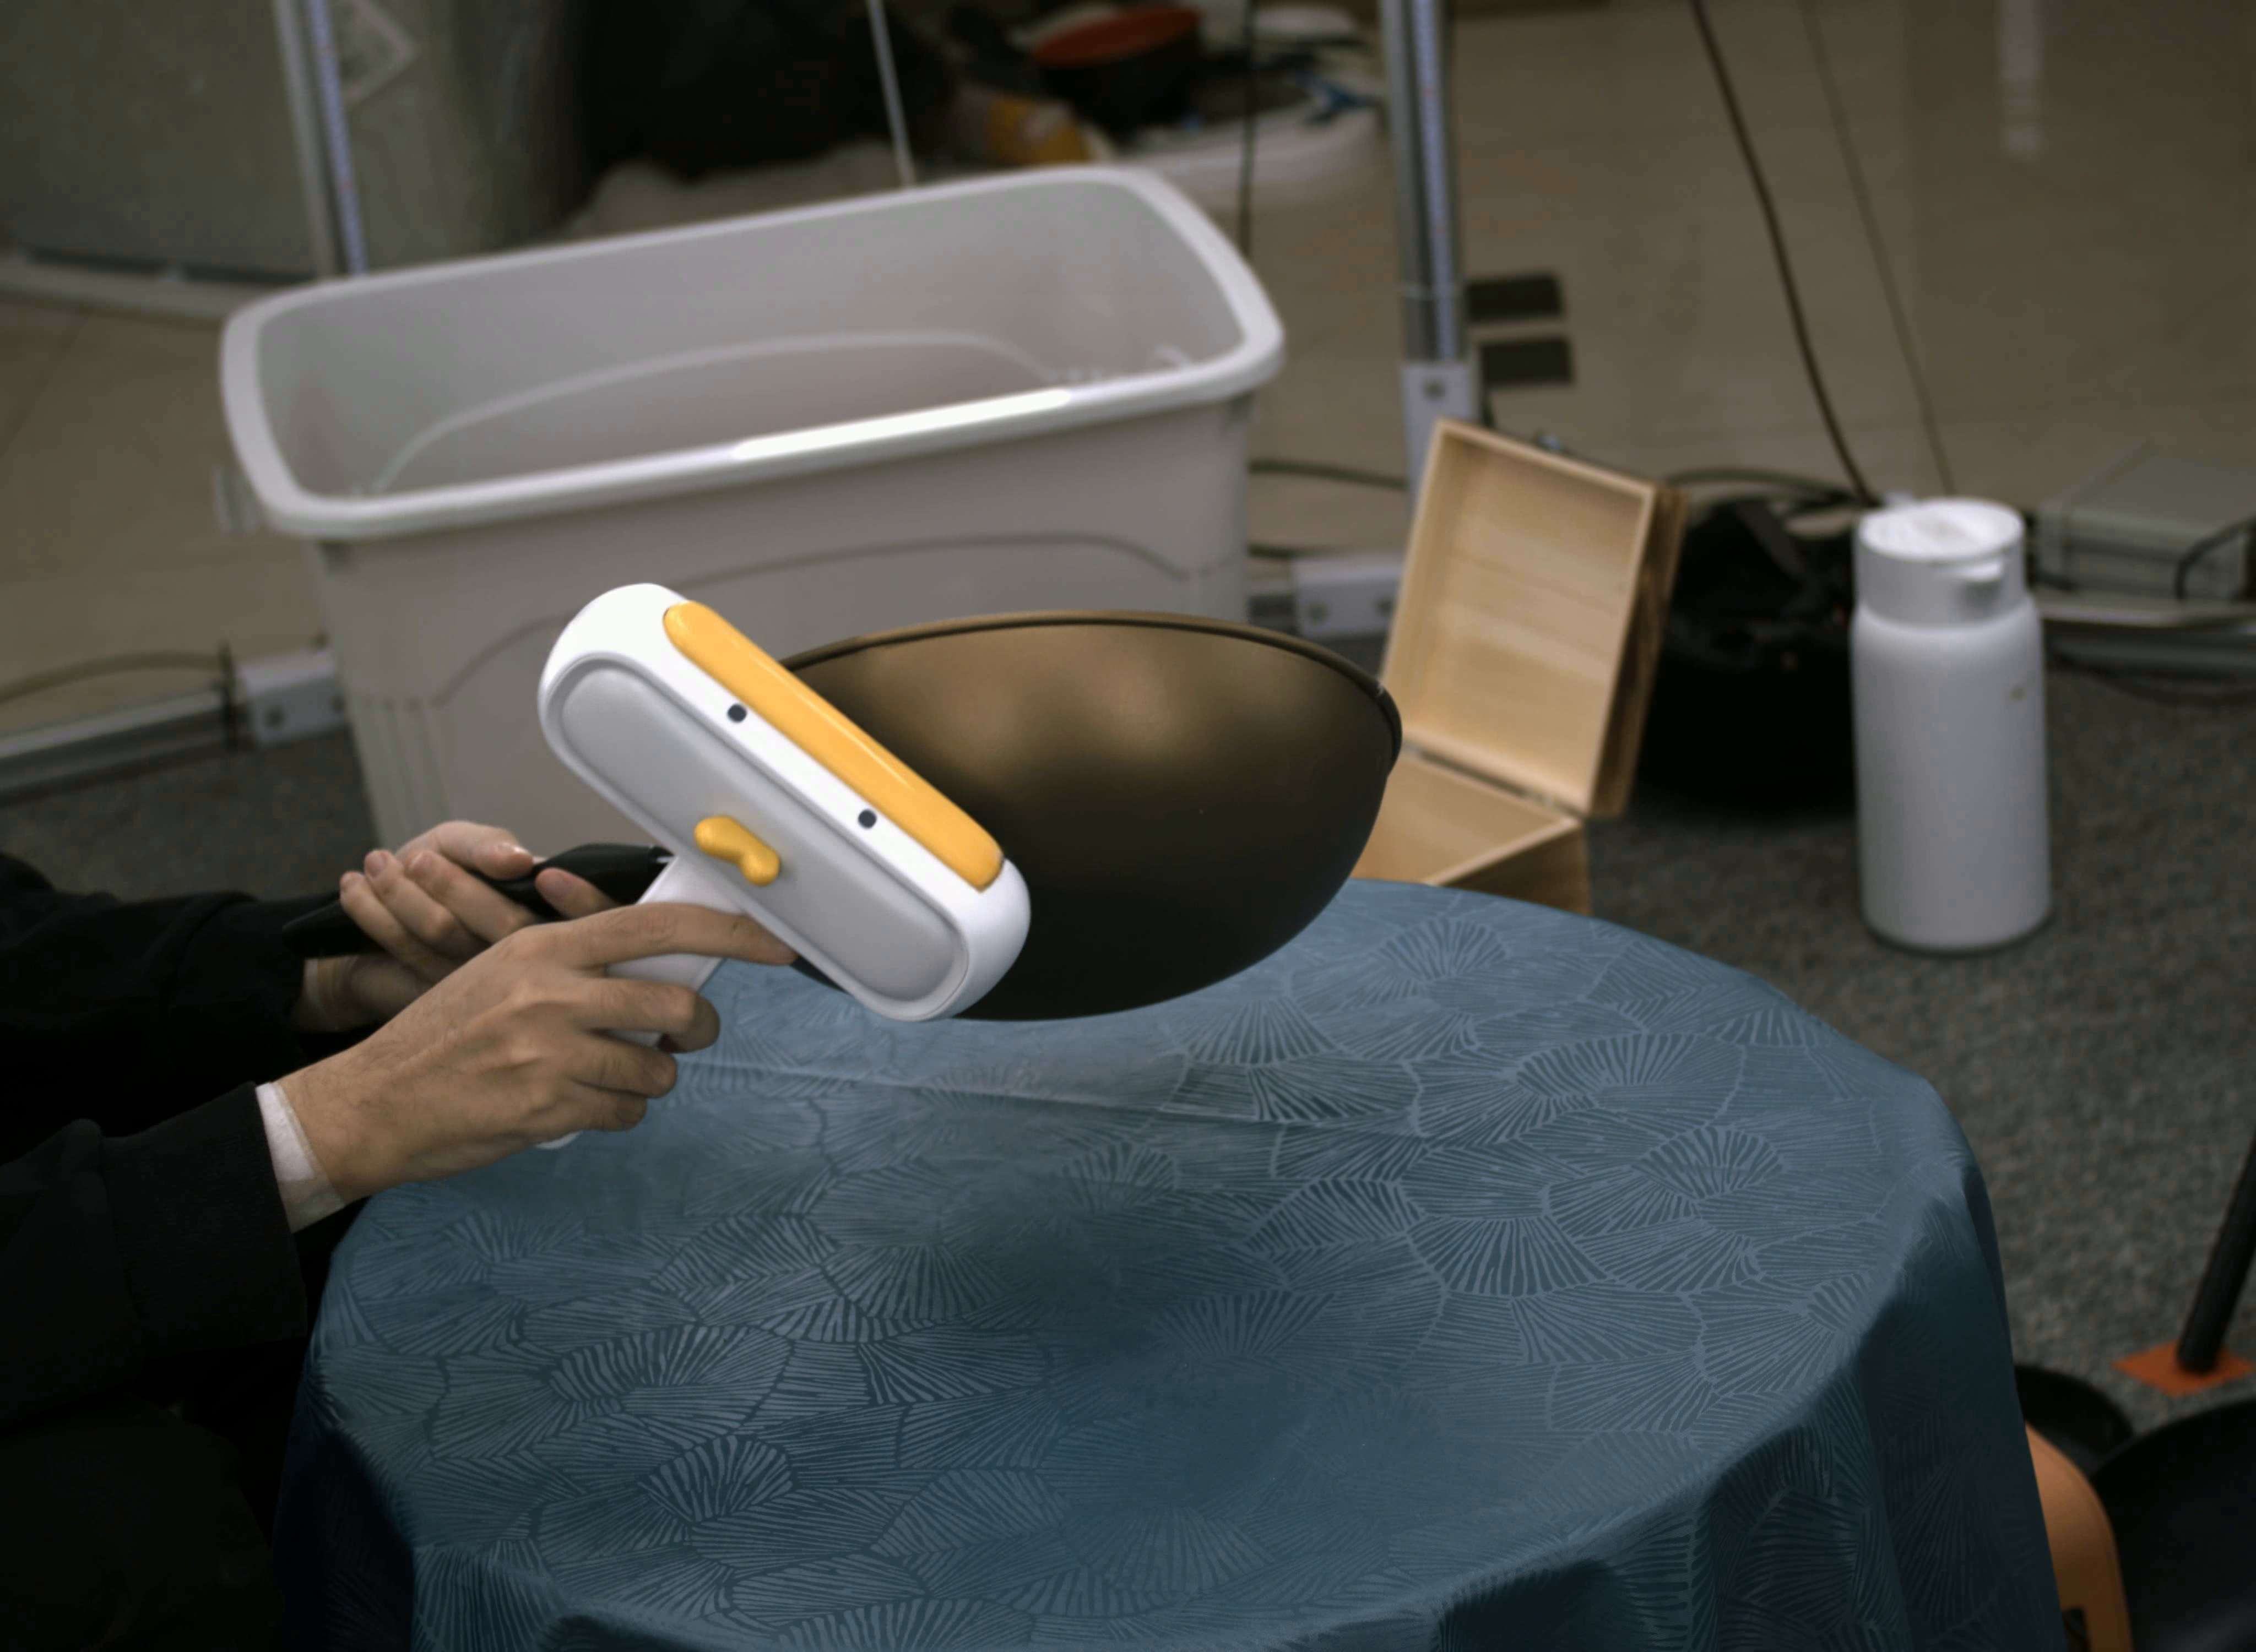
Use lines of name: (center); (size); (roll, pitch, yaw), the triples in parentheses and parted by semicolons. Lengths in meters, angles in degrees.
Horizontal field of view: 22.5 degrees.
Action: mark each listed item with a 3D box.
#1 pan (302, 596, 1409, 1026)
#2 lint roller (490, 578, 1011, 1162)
pan: (-0.115, 0.027, 2.124); (0.464, 0.291, 0.086); (-13, 66, 23)
lint roller: (-0.160, 0.035, 1.976); (0.193, 0.195, 0.073); (33, 28, -6)
